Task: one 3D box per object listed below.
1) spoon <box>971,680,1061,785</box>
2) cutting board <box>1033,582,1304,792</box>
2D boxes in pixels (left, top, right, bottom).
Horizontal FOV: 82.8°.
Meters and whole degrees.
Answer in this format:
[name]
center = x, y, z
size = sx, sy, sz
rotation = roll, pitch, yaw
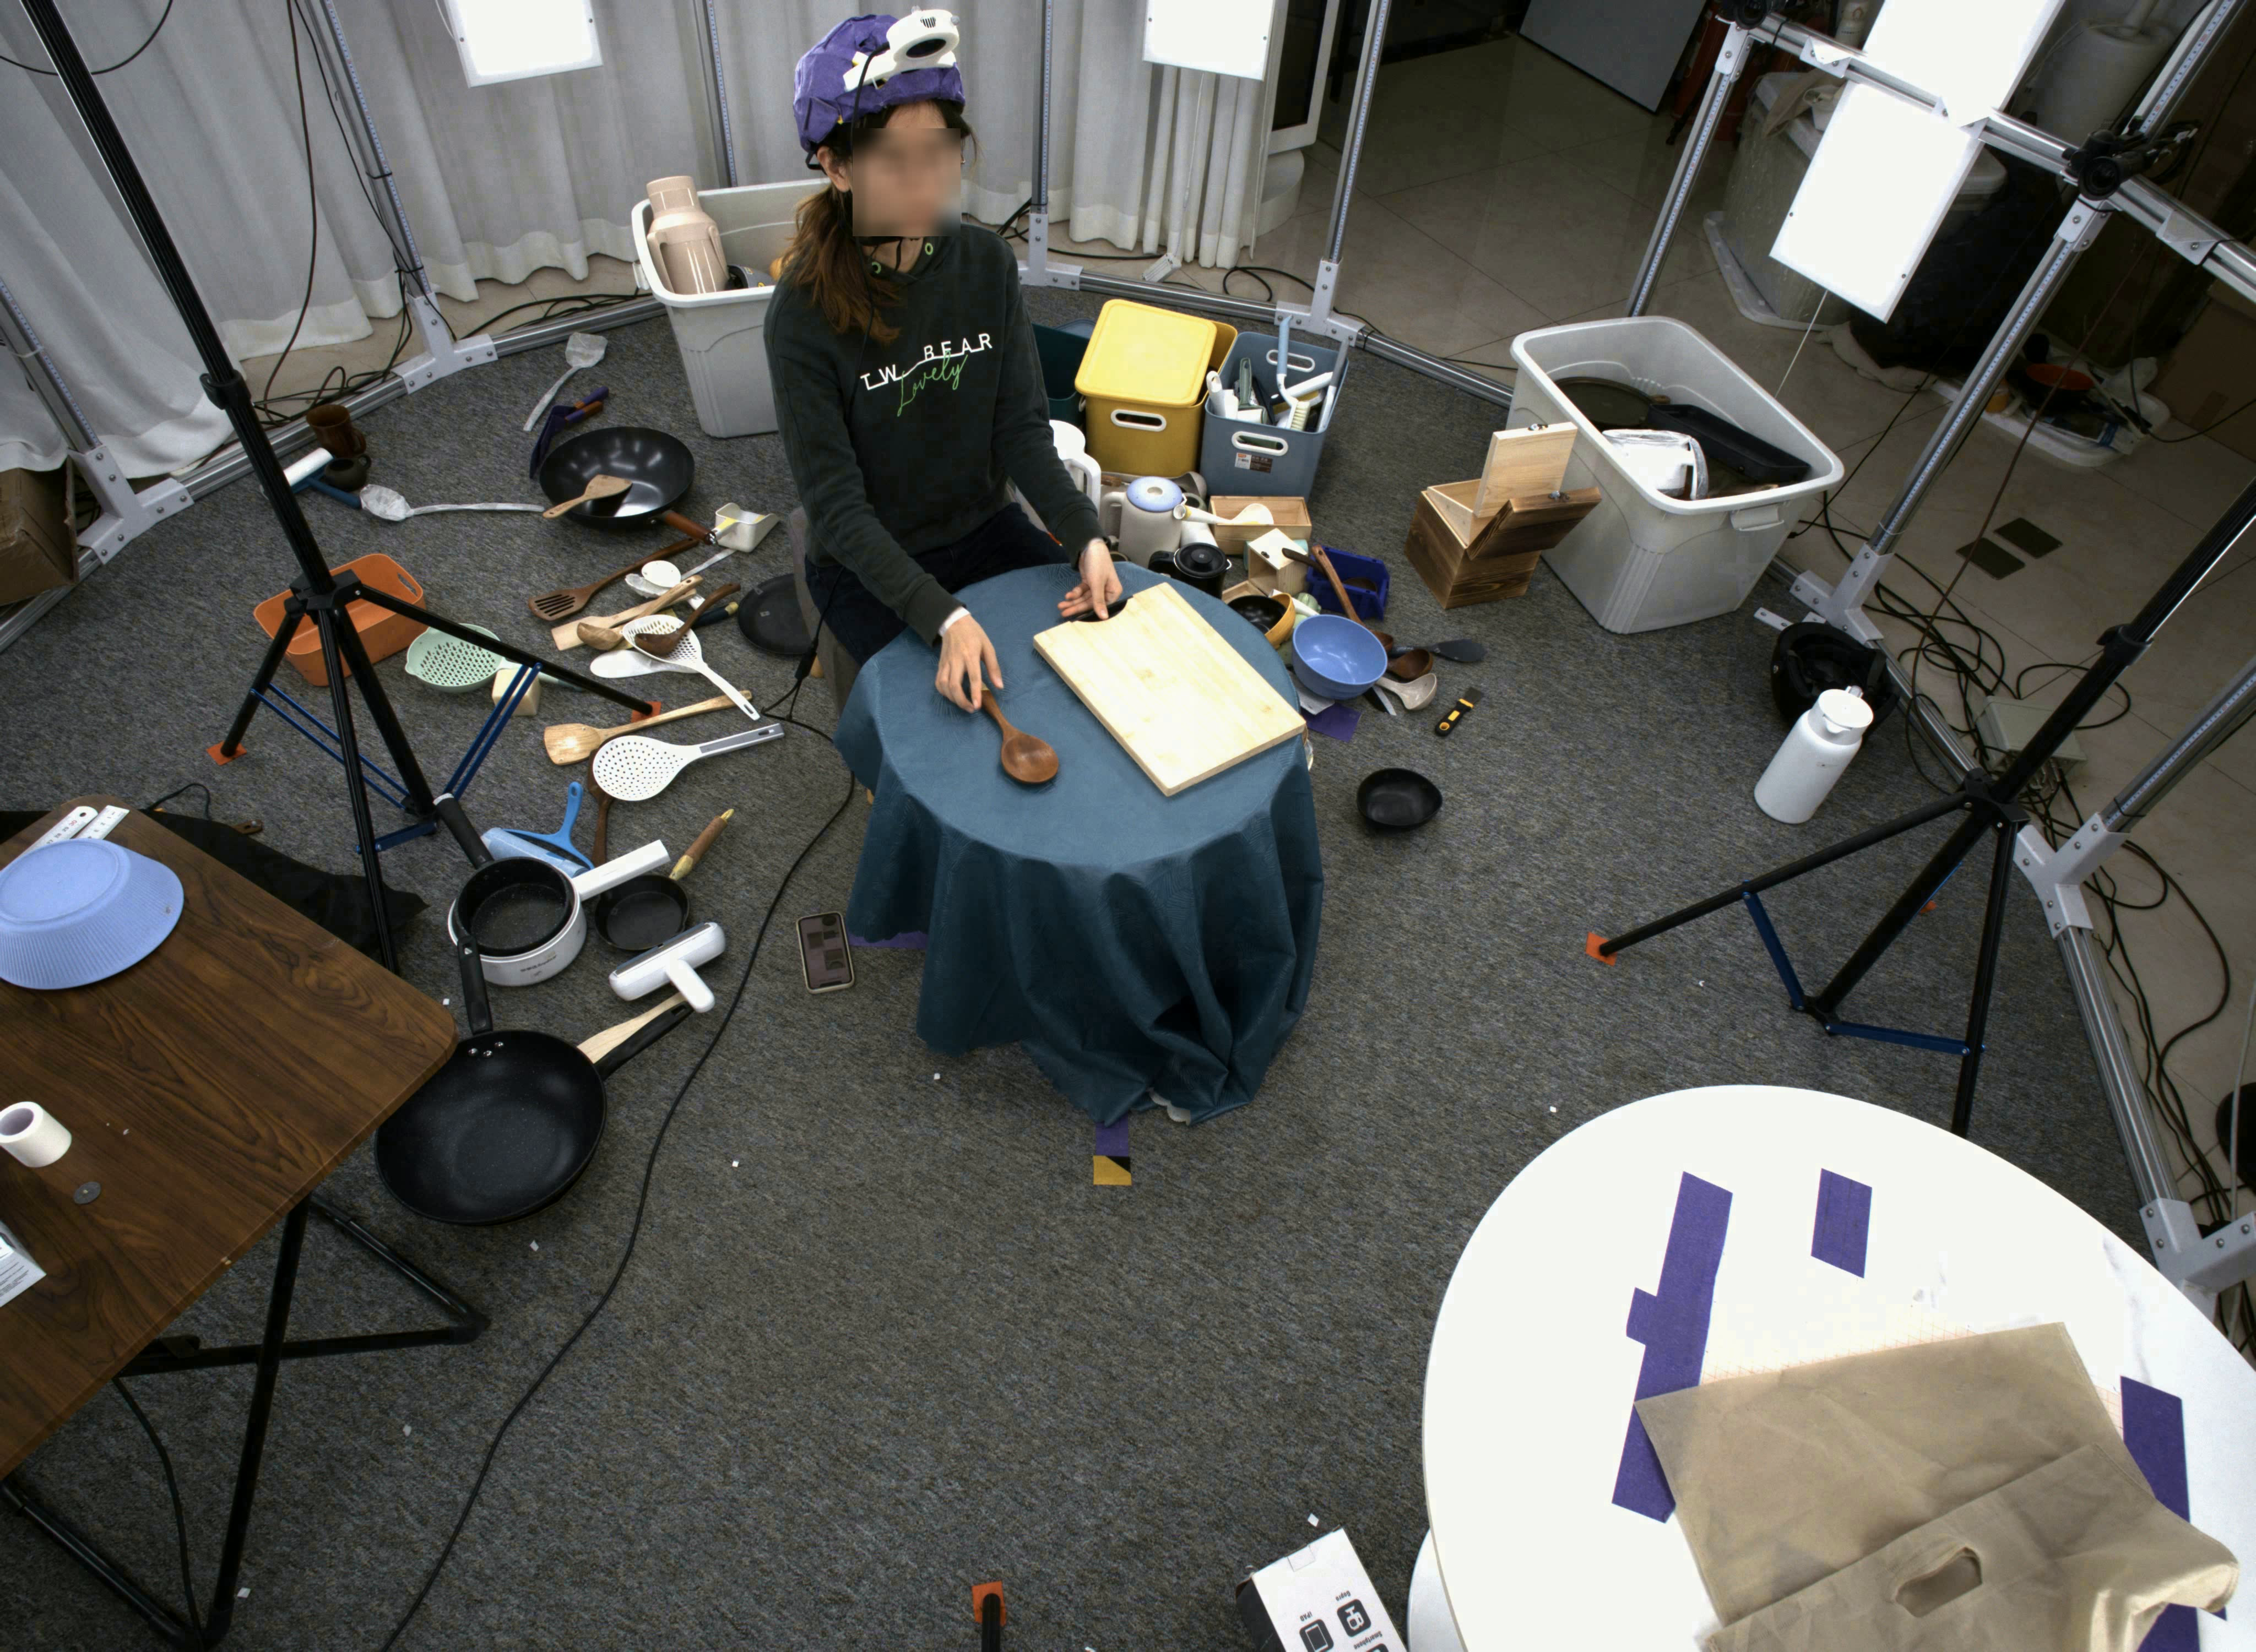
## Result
[spoon]
center = -0.162, -0.130, 1.775
size = 0.076, 0.017, 0.220
rotation = -22, 54, -20
[cutting board]
center = 0.053, -0.209, 1.855
size = 0.252, 0.023, 0.355
rotation = -26, 56, -25
